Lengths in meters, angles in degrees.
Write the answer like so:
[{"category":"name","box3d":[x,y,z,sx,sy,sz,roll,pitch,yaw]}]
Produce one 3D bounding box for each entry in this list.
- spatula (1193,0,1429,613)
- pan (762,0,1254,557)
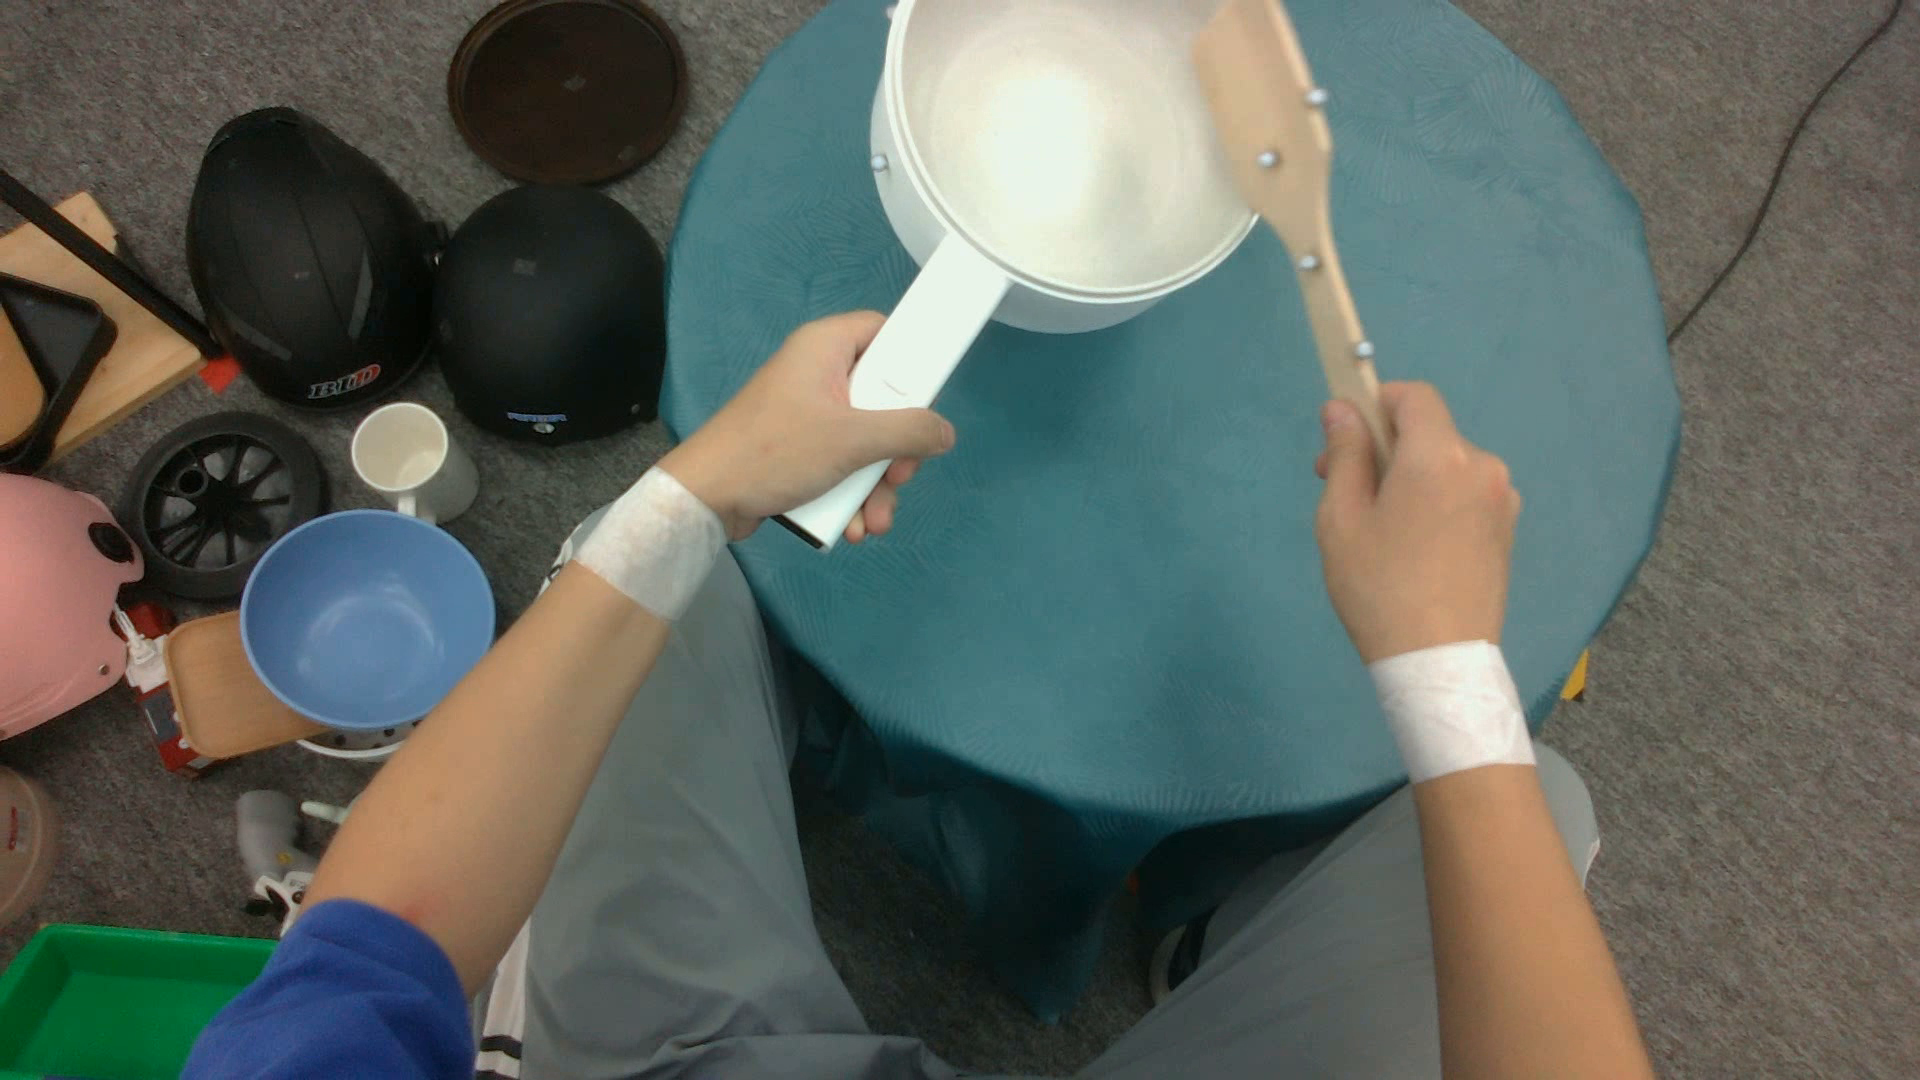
[{"category":"spatula","box3d":[0.172,-0.107,0.653,0.011,0.072,0.293,-15,86,-21]},{"category":"pan","box3d":[0.010,-0.144,0.709,0.201,0.102,0.355,34,76,-9]}]
